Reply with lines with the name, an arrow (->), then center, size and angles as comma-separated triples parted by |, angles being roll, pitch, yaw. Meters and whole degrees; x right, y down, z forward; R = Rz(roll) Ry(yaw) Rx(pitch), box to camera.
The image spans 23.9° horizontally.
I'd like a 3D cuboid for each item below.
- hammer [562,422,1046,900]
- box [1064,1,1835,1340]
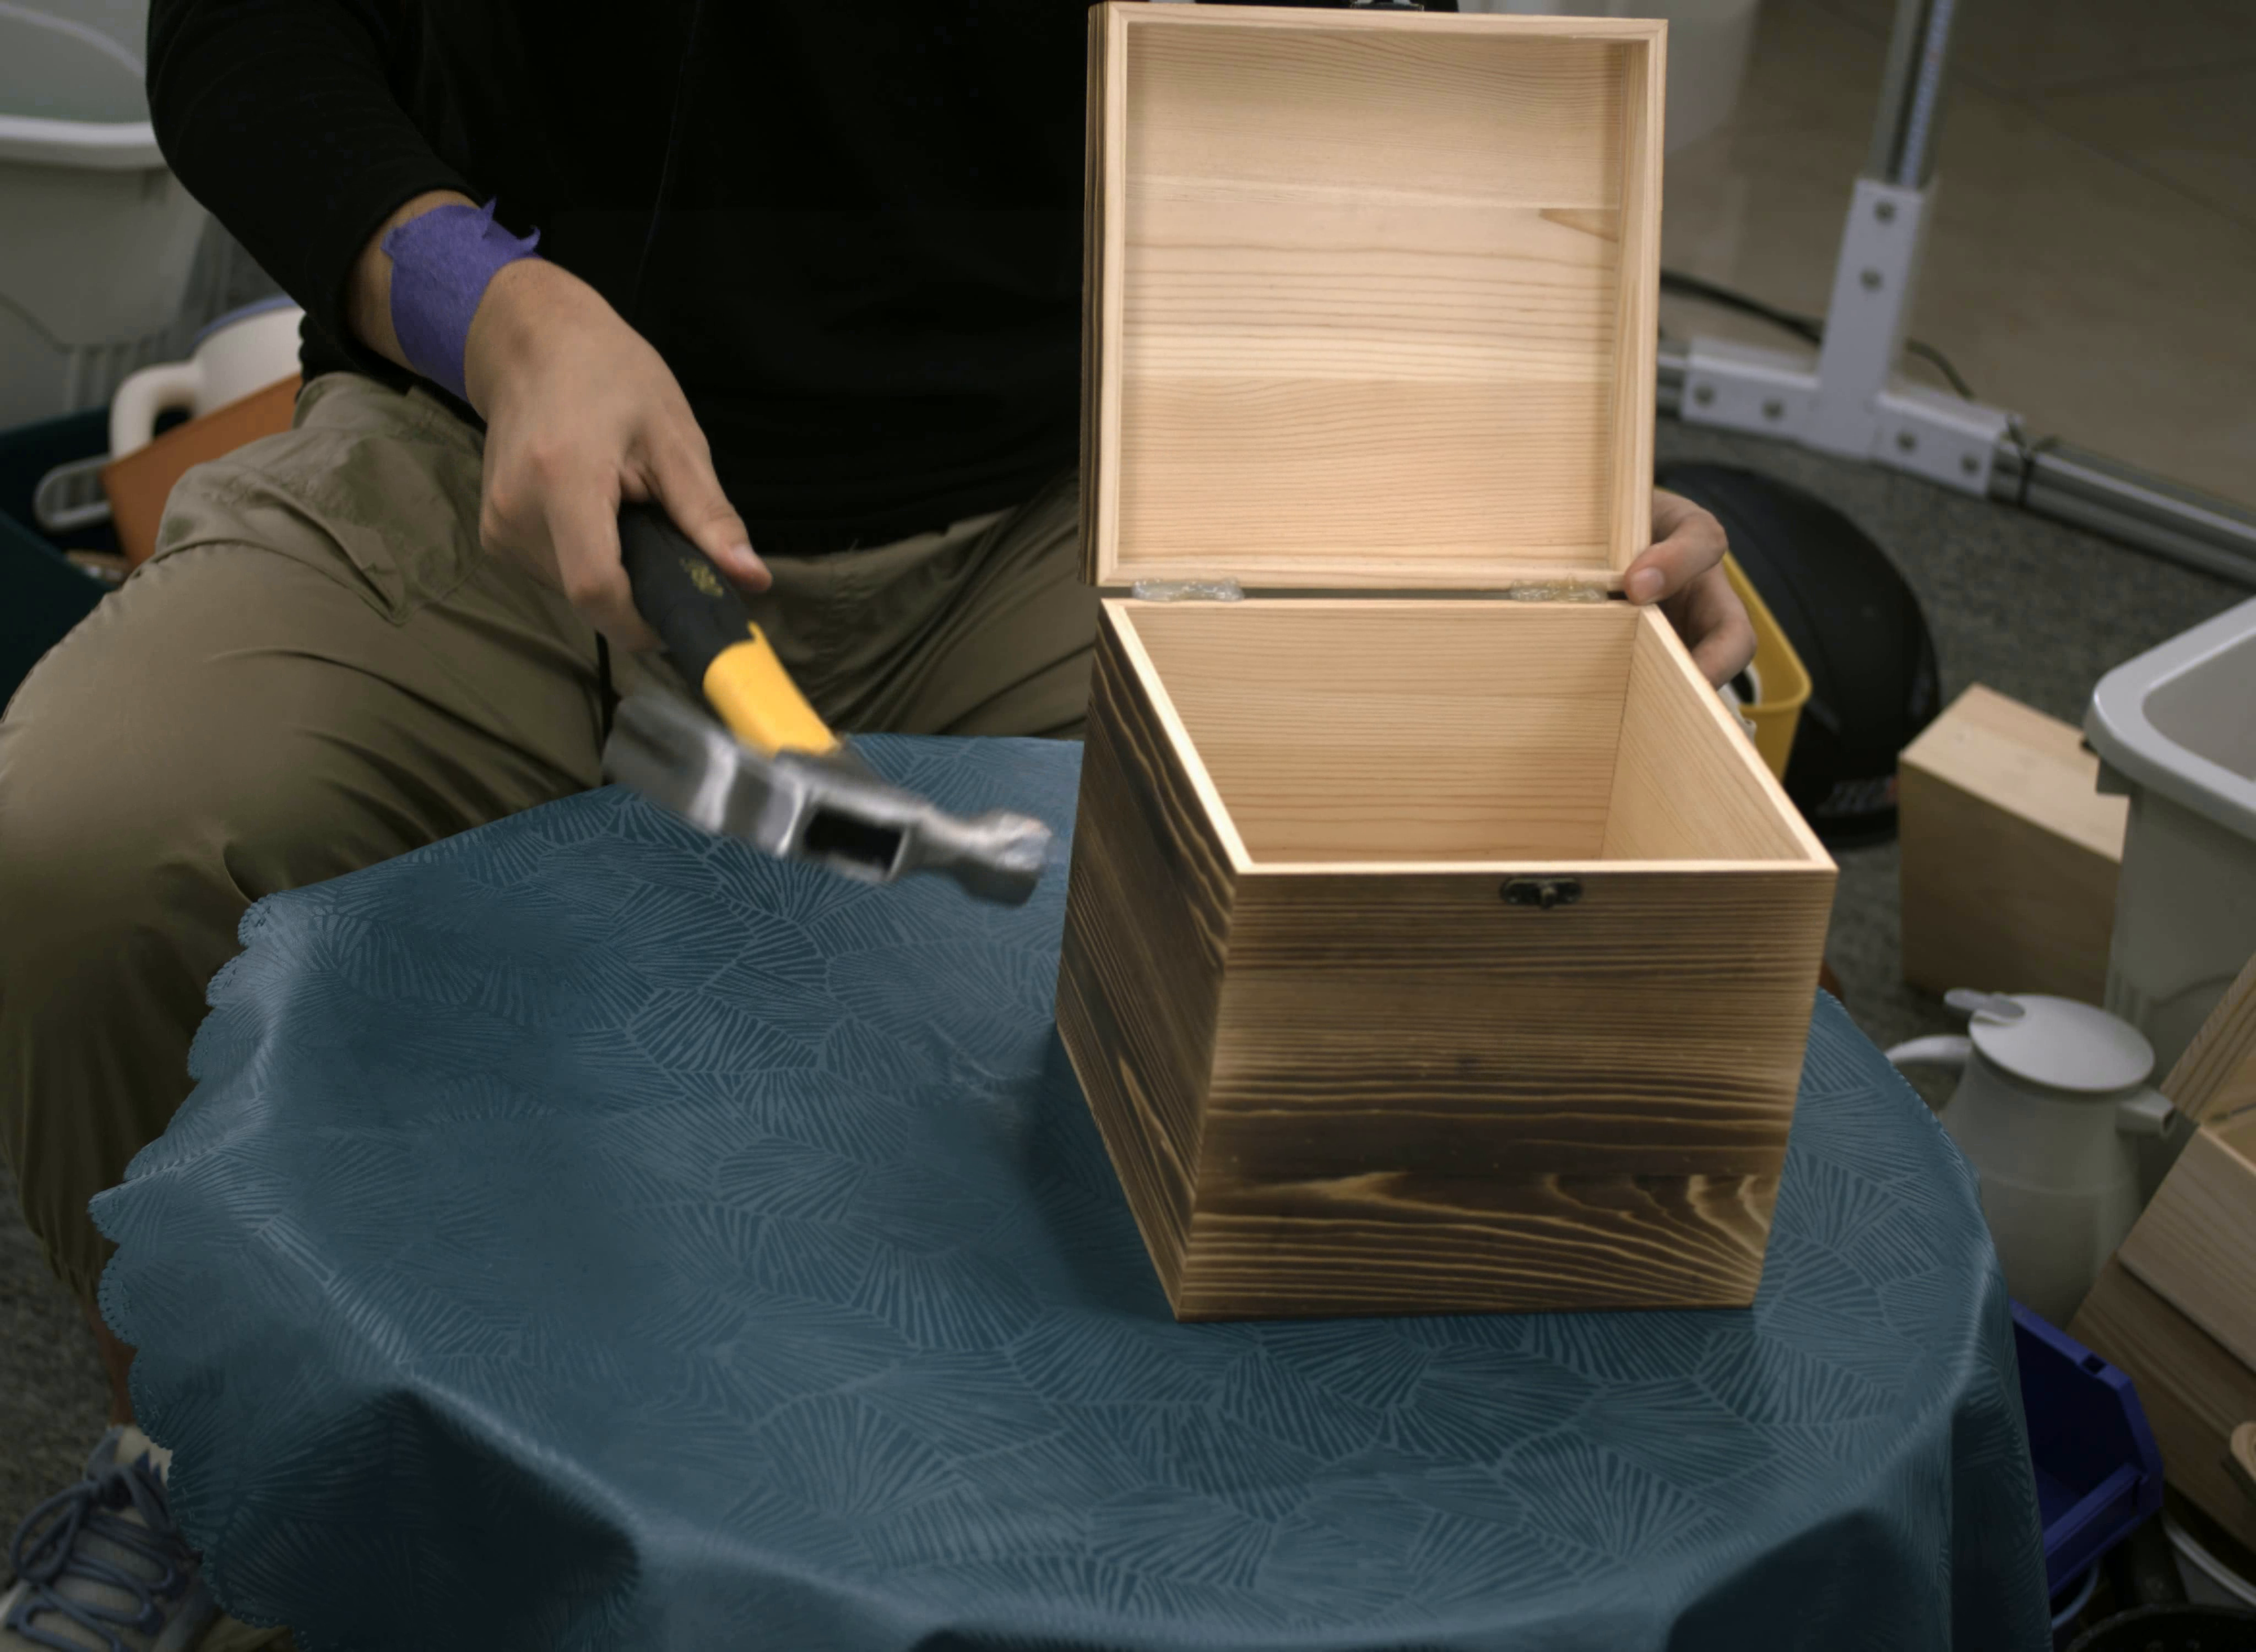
hammer -> -0.135, -0.068, 1.777 | 0.130, 0.032, 0.341 | 15, 18, -24
box -> 0.097, -0.066, 1.807 | 0.207, 0.374, 0.325 | -1, 26, -13
